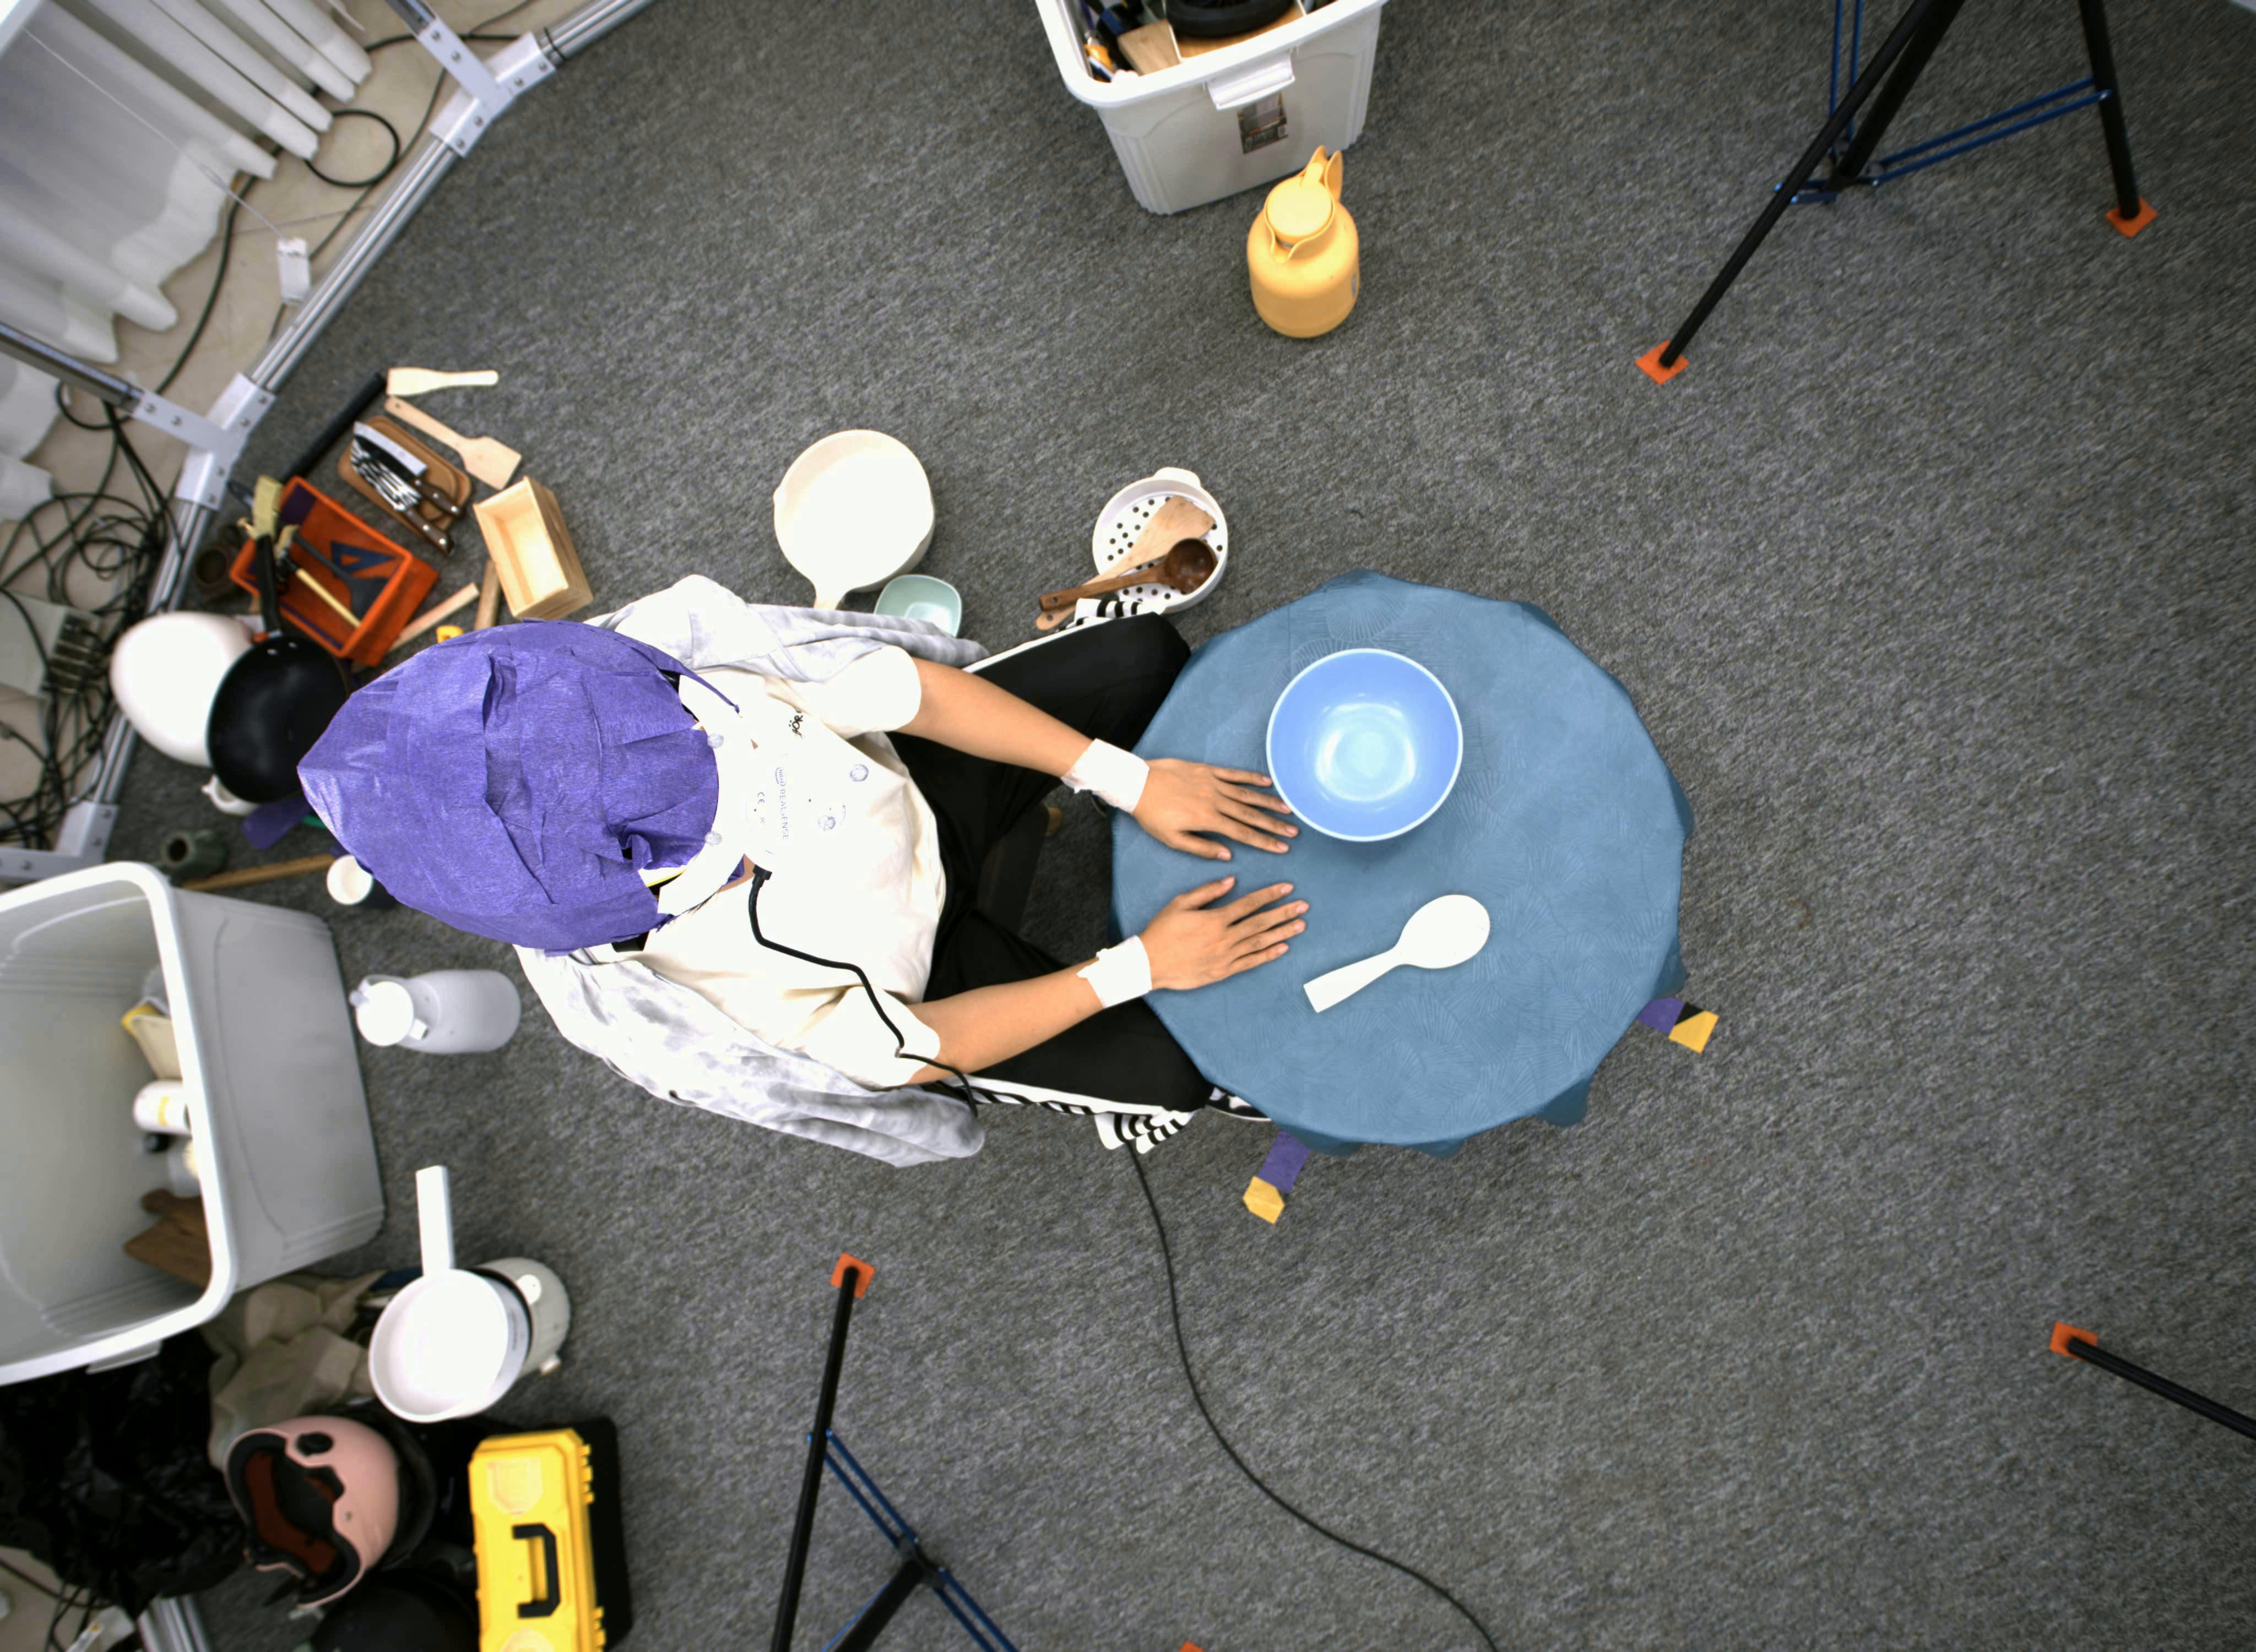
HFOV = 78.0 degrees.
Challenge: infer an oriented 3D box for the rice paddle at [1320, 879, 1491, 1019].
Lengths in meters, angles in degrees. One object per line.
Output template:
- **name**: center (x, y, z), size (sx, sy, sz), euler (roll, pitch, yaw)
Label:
- **rice paddle**: center (0.290, 0.127, 1.441), size (0.207, 0.029, 0.068), euler (-38, 68, 10)

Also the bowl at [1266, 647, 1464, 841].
- **bowl**: center (0.243, -0.080, 1.422), size (0.197, 0.095, 0.196), euler (-1, 87, 9)
